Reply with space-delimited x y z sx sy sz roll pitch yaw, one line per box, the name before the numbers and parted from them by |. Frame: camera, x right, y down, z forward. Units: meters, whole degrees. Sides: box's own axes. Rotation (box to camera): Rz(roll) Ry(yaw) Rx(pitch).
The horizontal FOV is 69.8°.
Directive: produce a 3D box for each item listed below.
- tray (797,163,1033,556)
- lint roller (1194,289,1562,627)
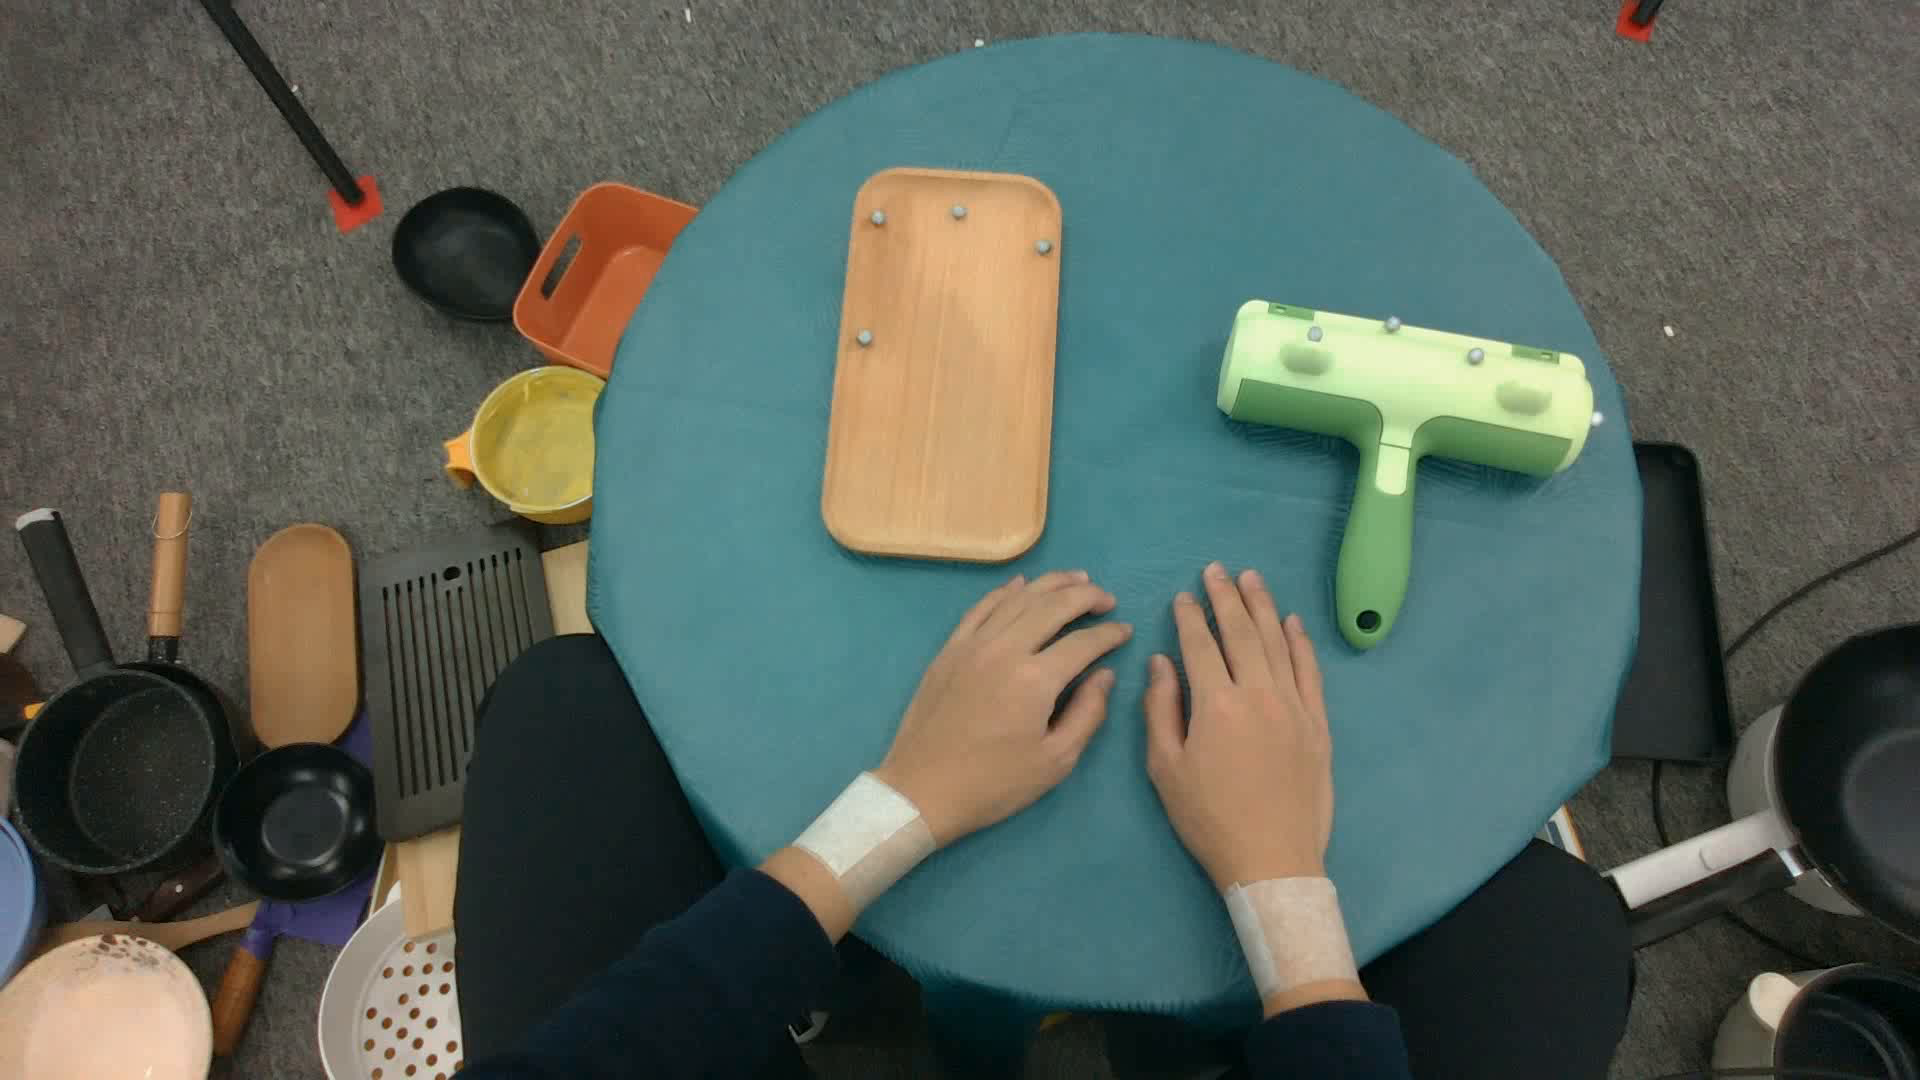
tray | -0.023 -0.109 0.803 0.130 0.023 0.251 2 70 2
lint roller | 0.224 -0.049 0.746 0.198 0.082 0.184 9 63 4
